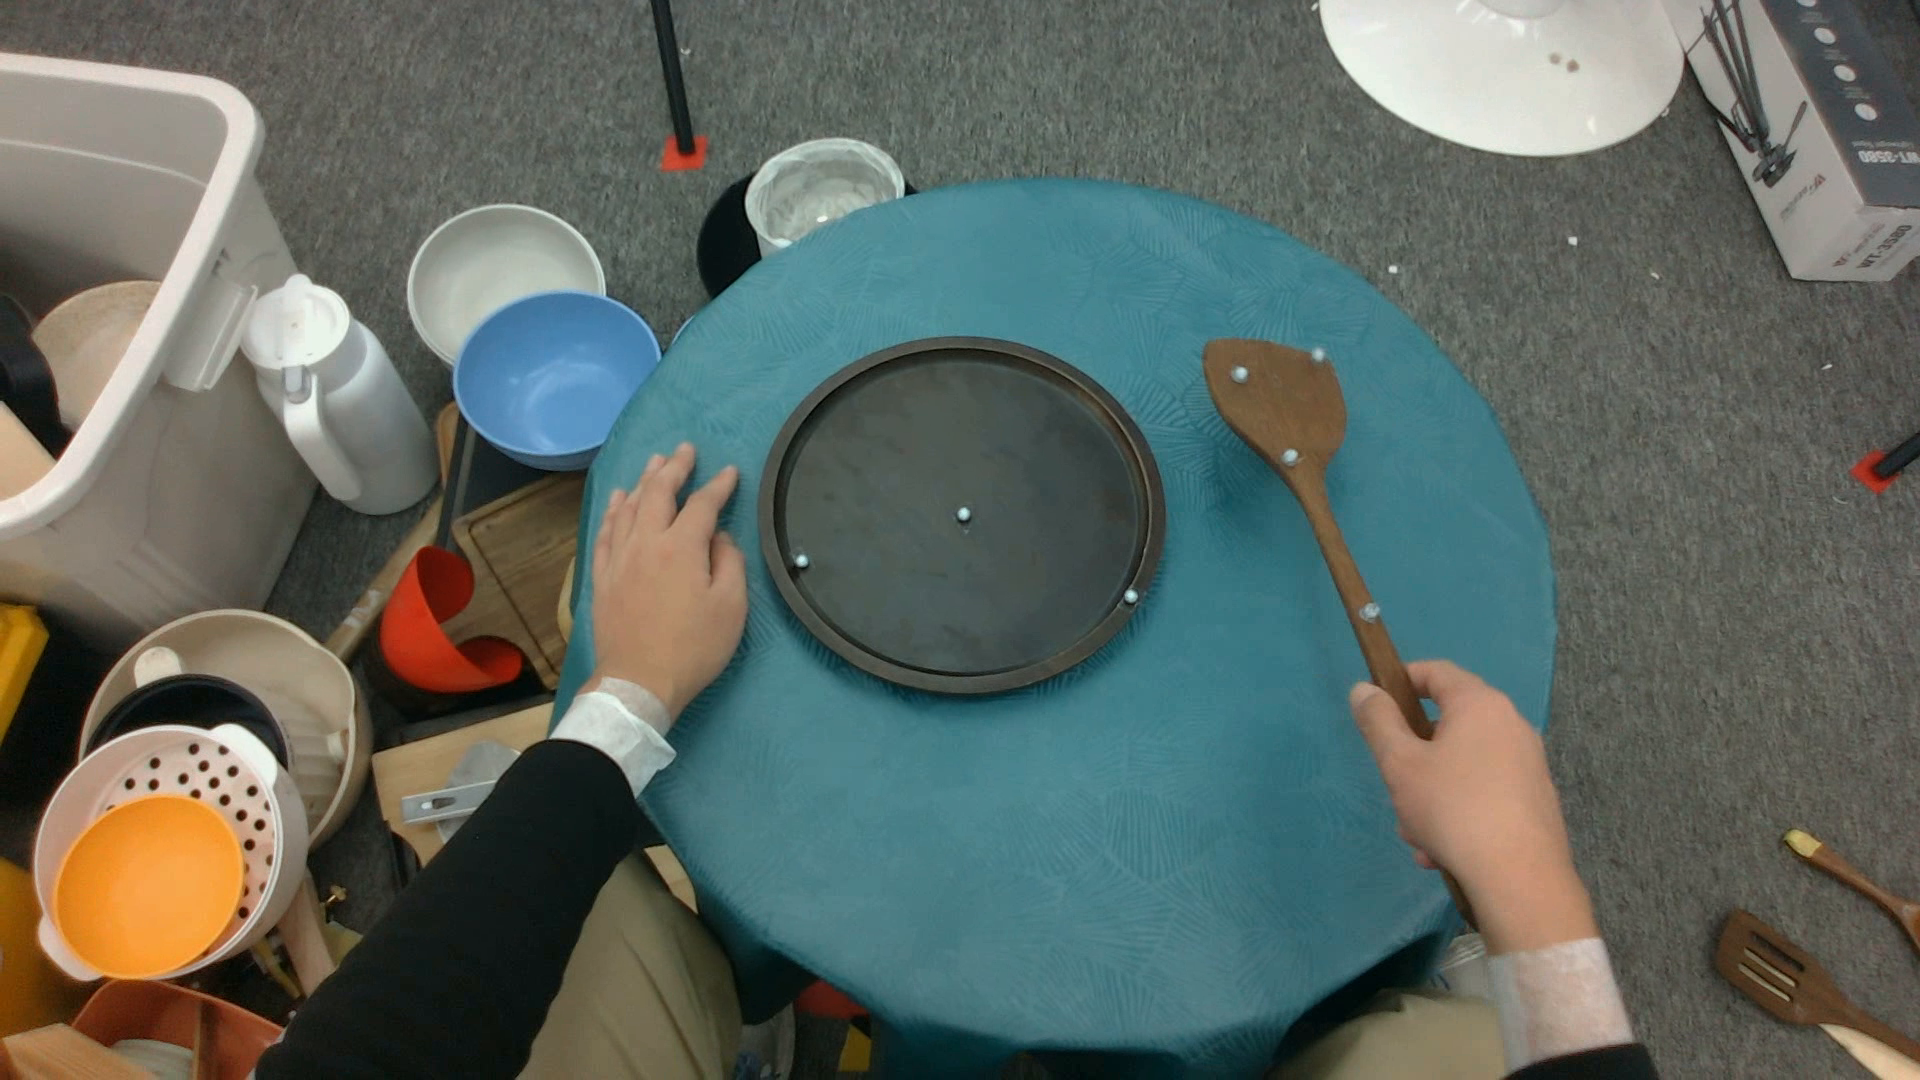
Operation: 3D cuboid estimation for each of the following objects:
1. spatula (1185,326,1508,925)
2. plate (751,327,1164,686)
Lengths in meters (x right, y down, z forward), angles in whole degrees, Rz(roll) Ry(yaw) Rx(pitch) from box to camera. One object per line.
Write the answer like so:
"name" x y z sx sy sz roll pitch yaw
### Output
"spatula" 0.209 0.021 0.741 0.096 0.015 0.387 2 51 -20
"plate" -0.001 -0.026 0.851 0.255 0.029 0.256 2 62 -3
